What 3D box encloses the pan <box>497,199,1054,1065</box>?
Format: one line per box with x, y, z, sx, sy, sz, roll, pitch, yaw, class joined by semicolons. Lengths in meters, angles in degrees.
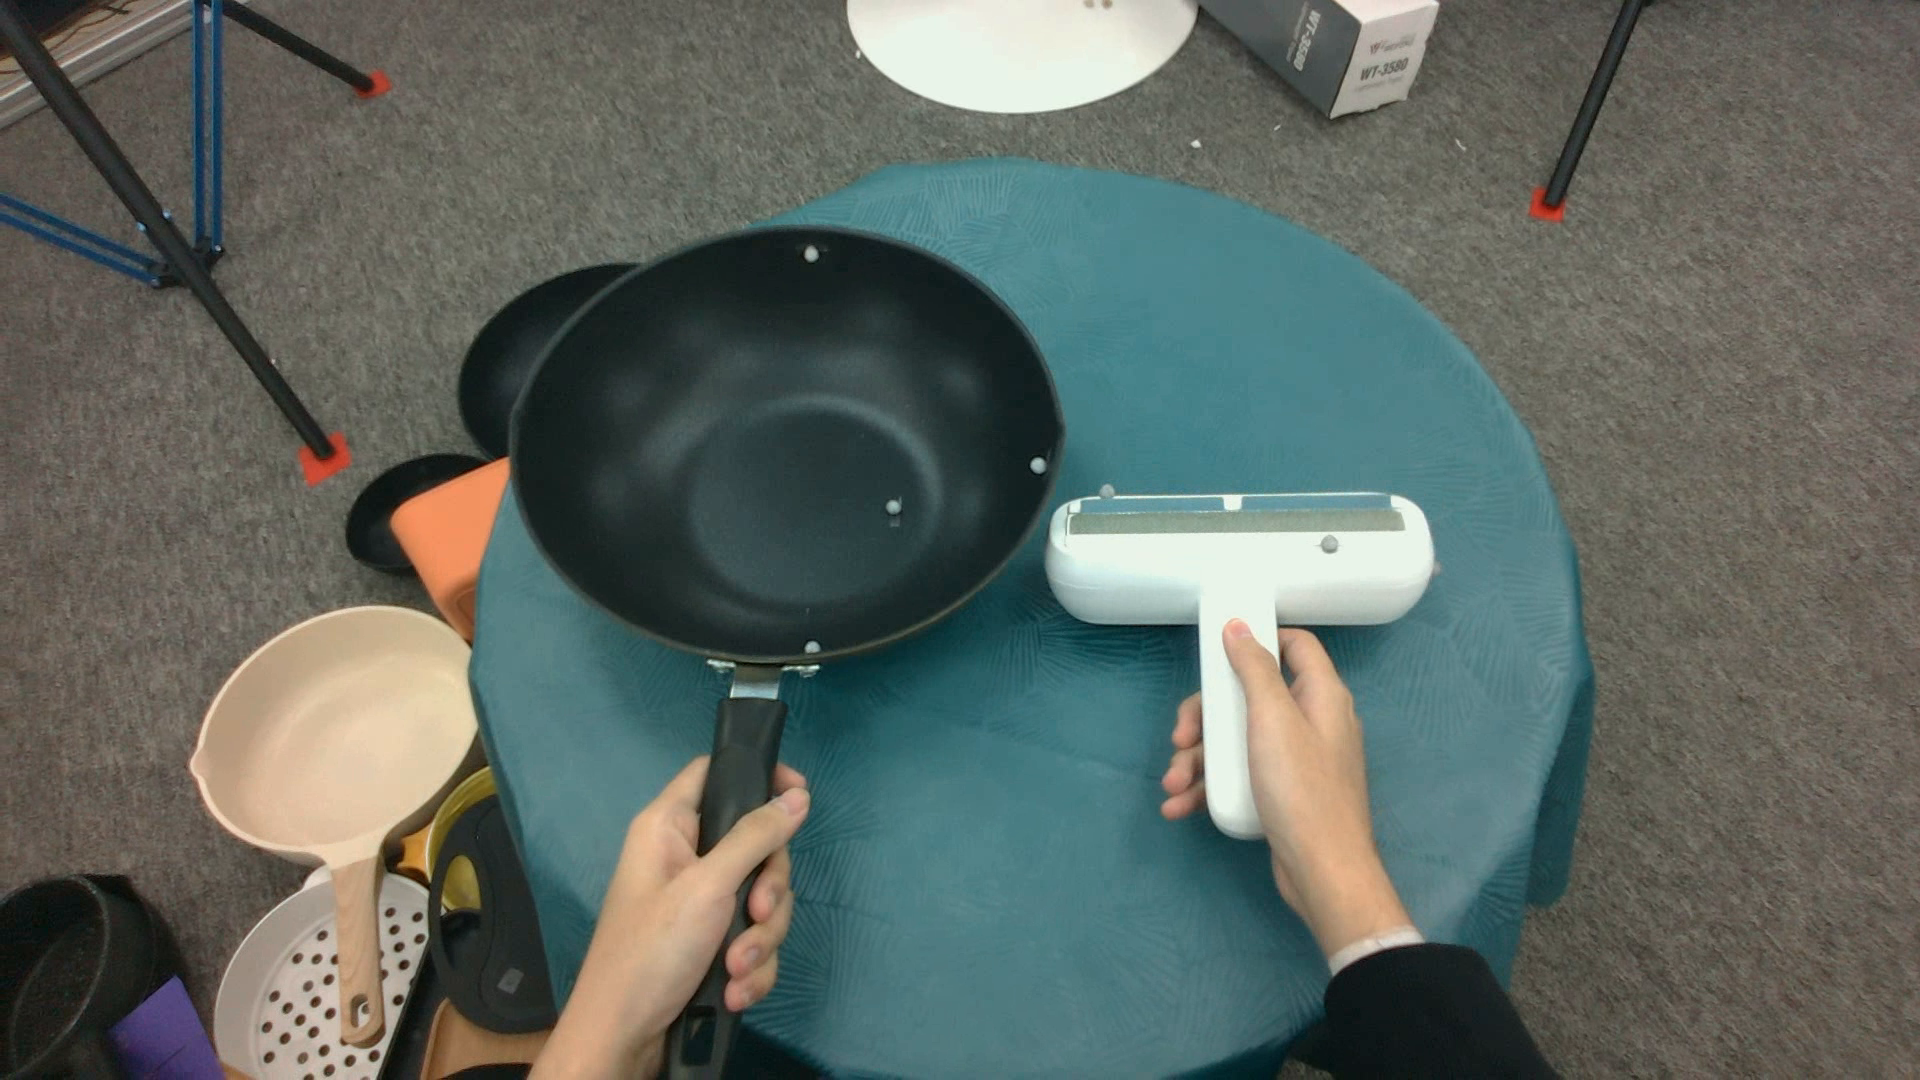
-0.099;0.026;0.695;0.288;0.086;0.465;2;59;1;pan

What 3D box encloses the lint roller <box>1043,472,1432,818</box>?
0.131;0.042;0.667;0.193;0.074;0.193;5;43;6;lint roller
